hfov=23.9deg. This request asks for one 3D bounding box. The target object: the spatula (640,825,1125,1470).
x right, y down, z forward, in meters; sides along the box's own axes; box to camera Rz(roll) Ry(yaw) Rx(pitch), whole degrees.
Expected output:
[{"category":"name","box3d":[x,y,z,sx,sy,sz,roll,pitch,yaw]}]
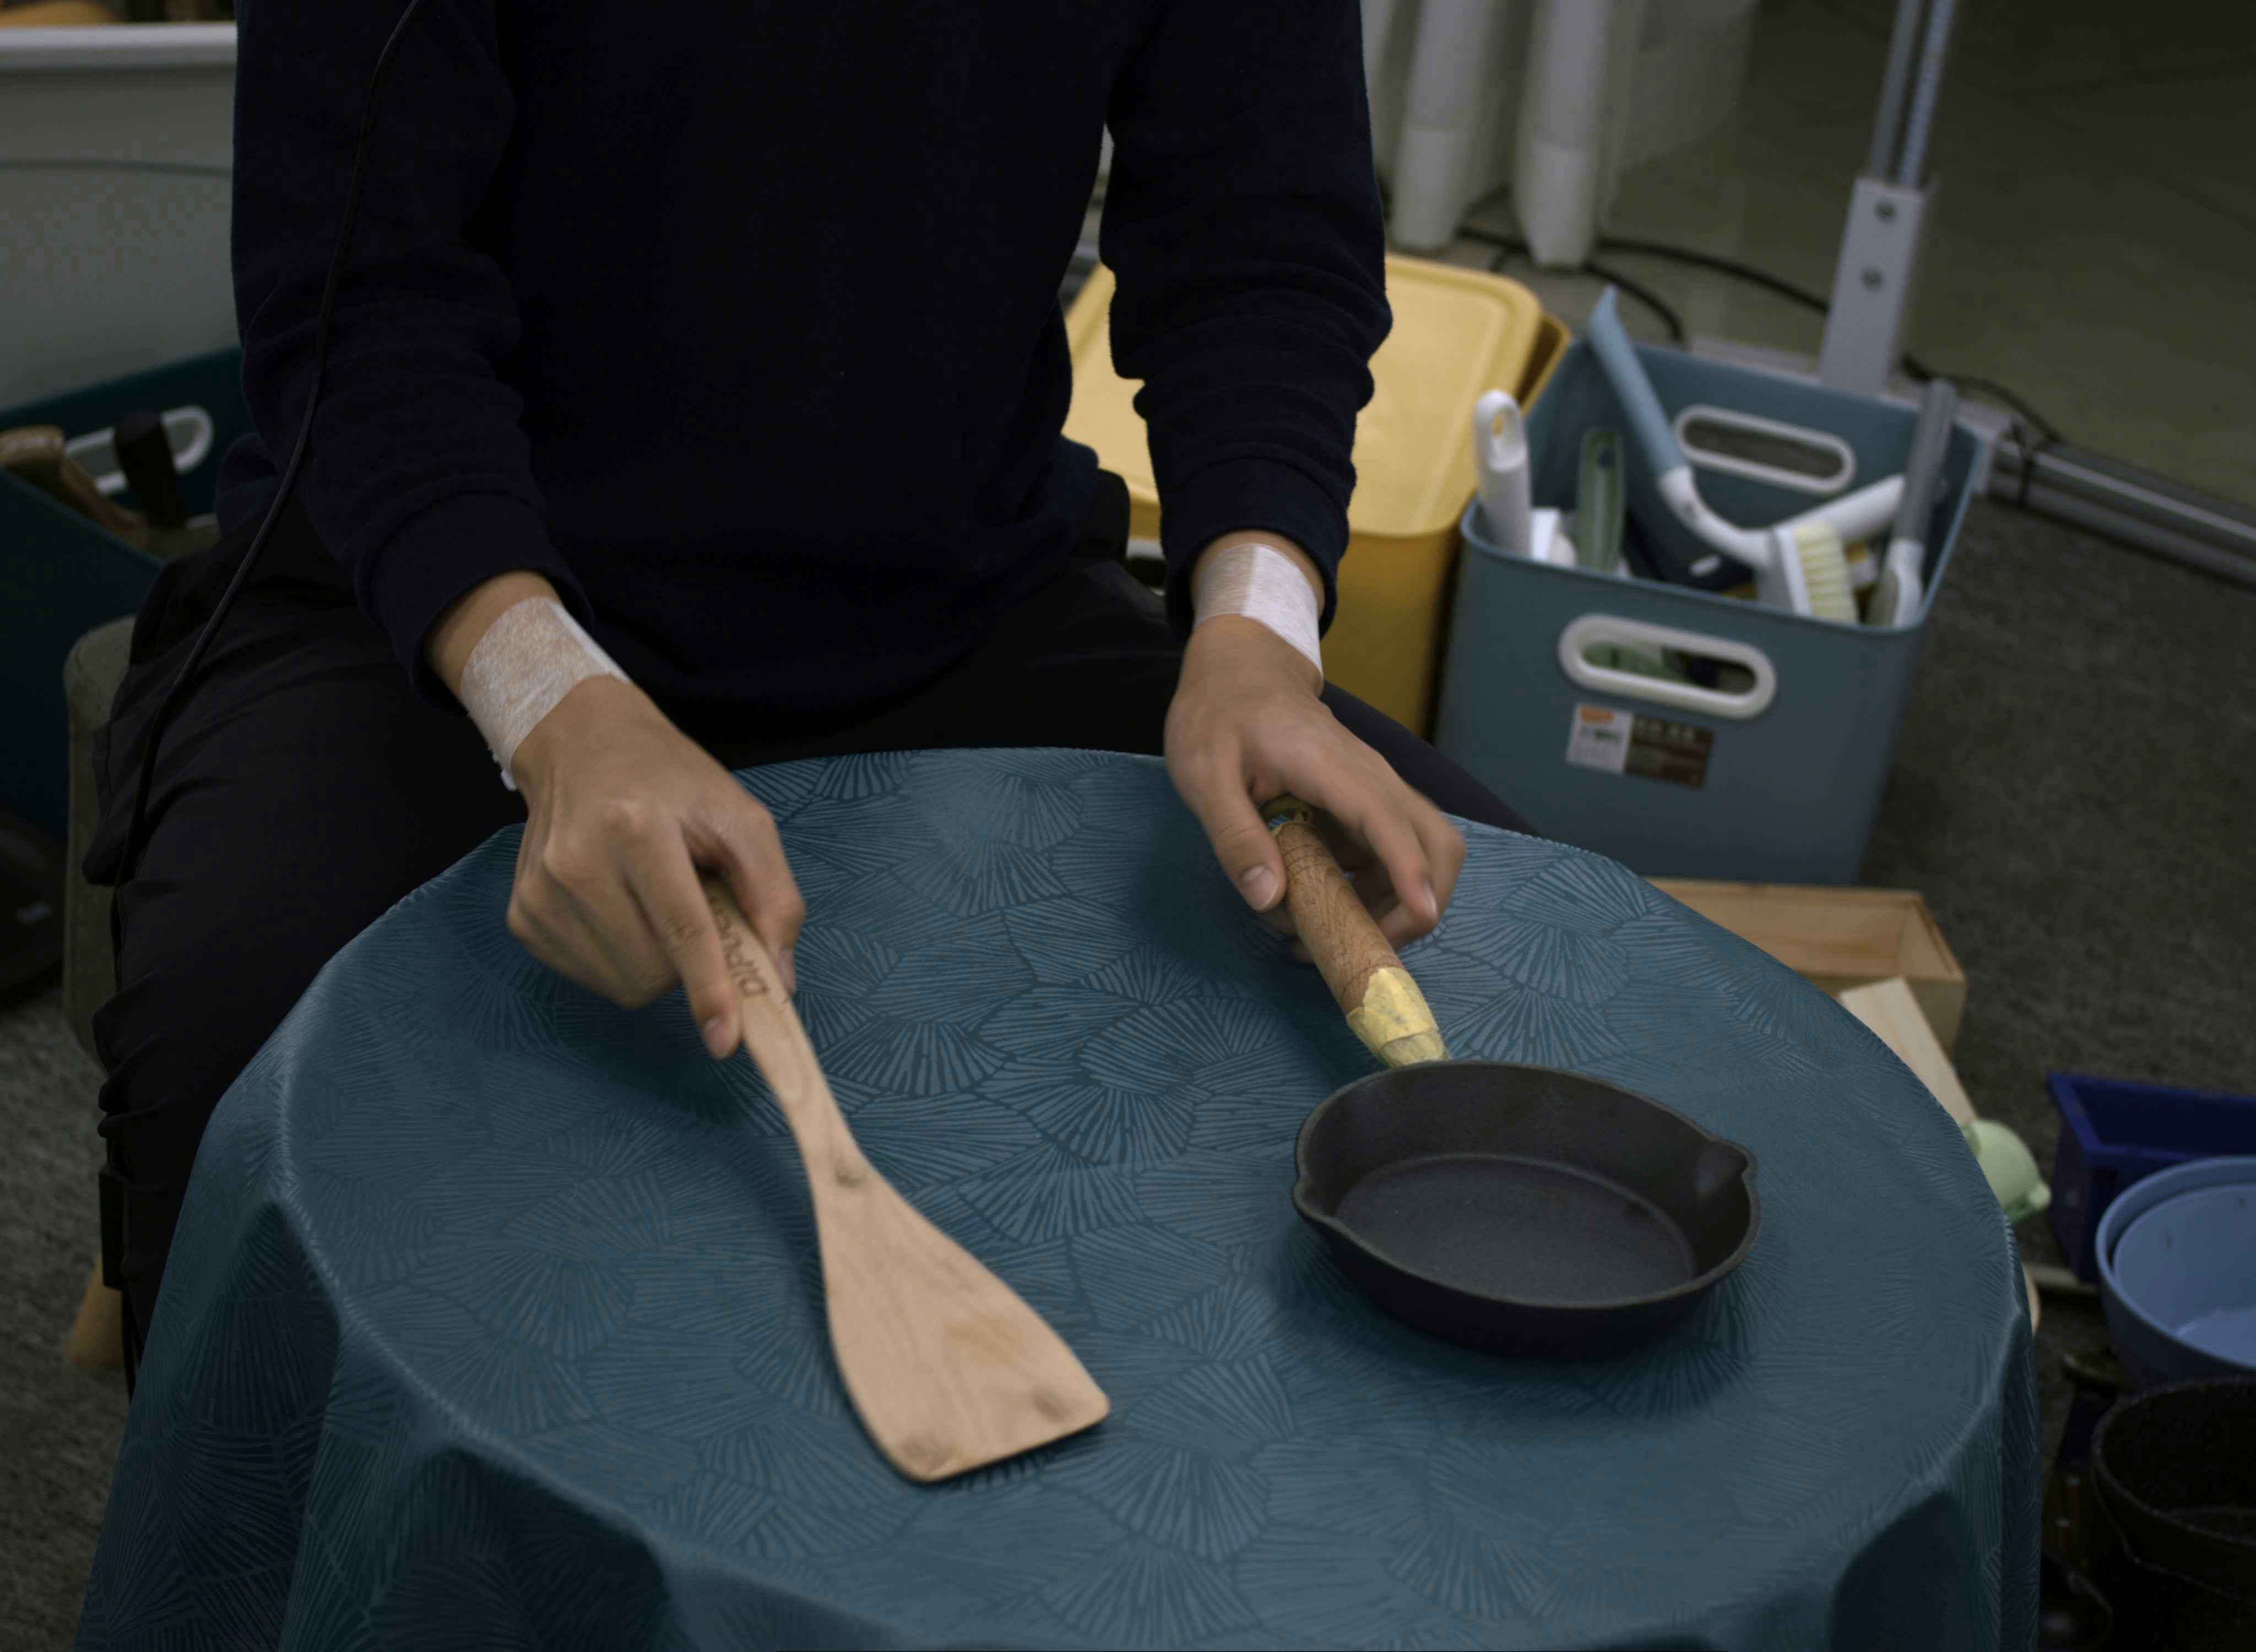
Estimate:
[{"category":"spatula","box3d":[-0.095,0.099,1.758,0.079,0.016,0.331,-6,41,-26]}]

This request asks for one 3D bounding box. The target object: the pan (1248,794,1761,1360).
[{"category":"pan","box3d":[0.106,0.084,1.848,0.168,0.049,0.327,-3,30,-19]}]
